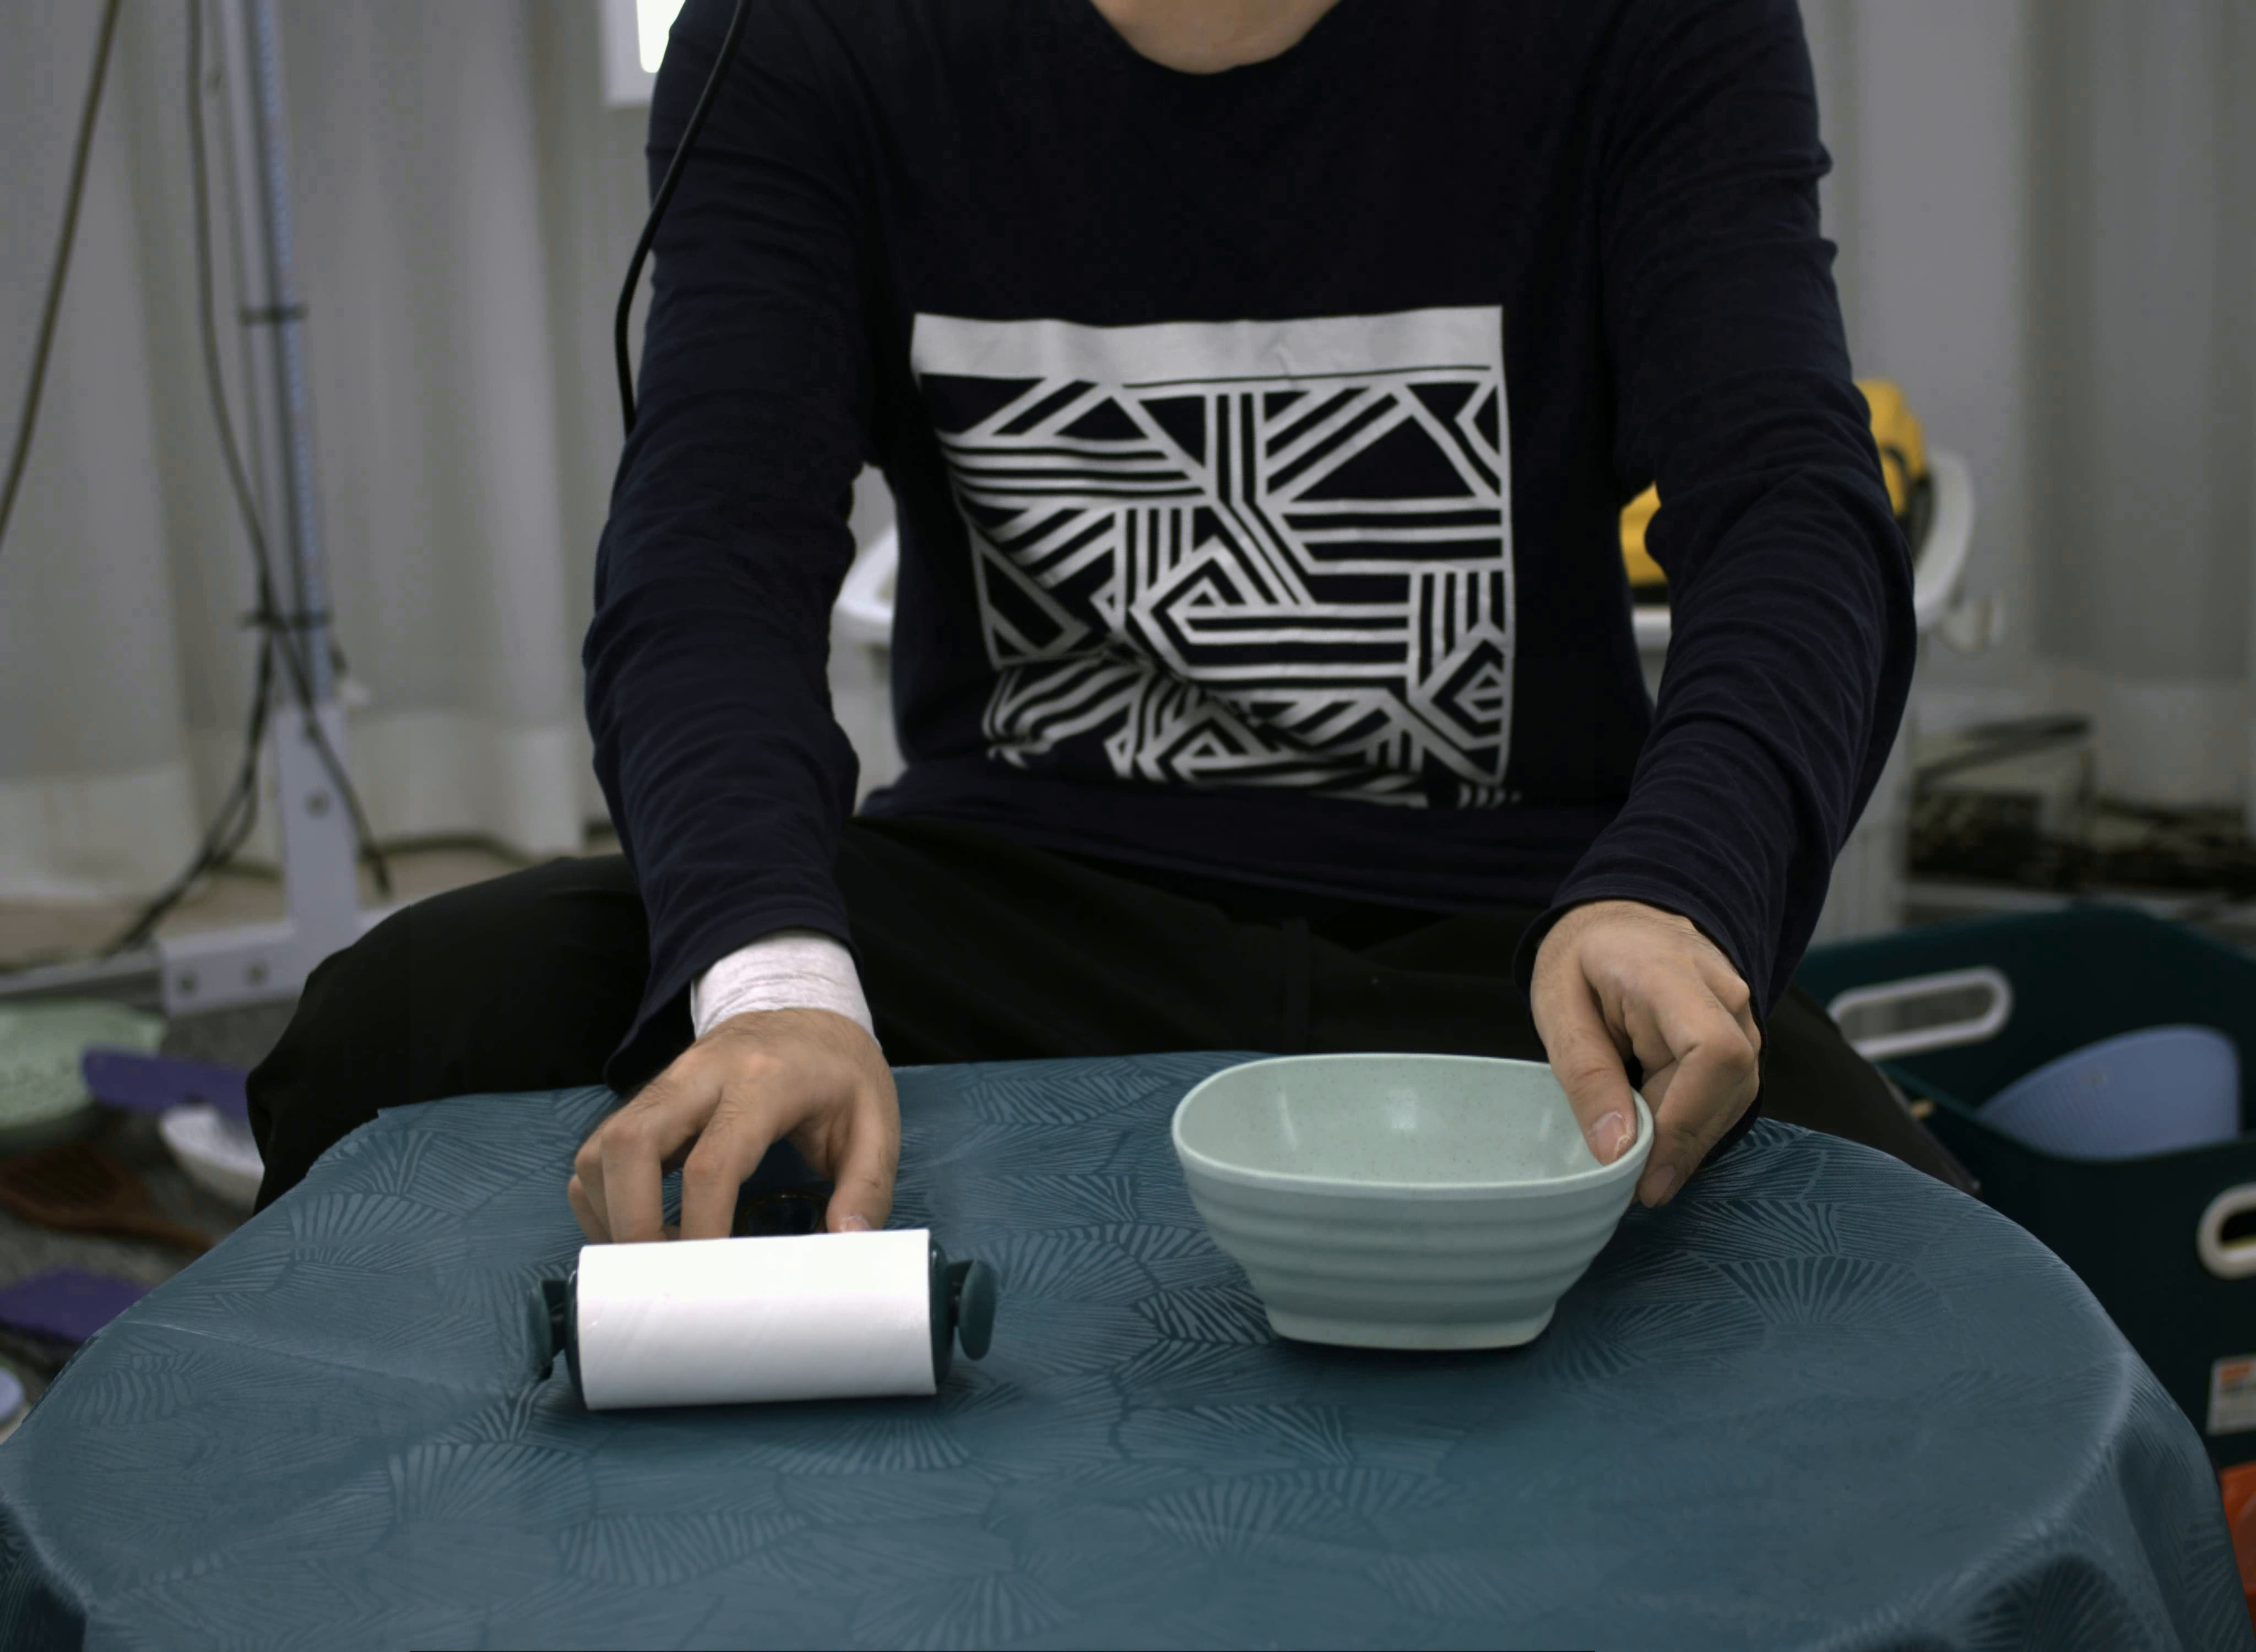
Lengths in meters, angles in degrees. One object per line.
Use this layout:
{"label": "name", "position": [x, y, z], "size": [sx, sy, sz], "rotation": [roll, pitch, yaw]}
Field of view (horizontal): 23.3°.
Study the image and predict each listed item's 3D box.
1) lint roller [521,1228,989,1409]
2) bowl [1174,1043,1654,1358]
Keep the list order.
{"label": "lint roller", "position": [-0.106, 0.127, 1.615], "size": [0.134, 0.048, 0.181], "rotation": [-3, 11, 0]}
{"label": "bowl", "position": [0.084, 0.112, 1.588], "size": [0.151, 0.058, 0.152], "rotation": [-2, 16, 0]}
